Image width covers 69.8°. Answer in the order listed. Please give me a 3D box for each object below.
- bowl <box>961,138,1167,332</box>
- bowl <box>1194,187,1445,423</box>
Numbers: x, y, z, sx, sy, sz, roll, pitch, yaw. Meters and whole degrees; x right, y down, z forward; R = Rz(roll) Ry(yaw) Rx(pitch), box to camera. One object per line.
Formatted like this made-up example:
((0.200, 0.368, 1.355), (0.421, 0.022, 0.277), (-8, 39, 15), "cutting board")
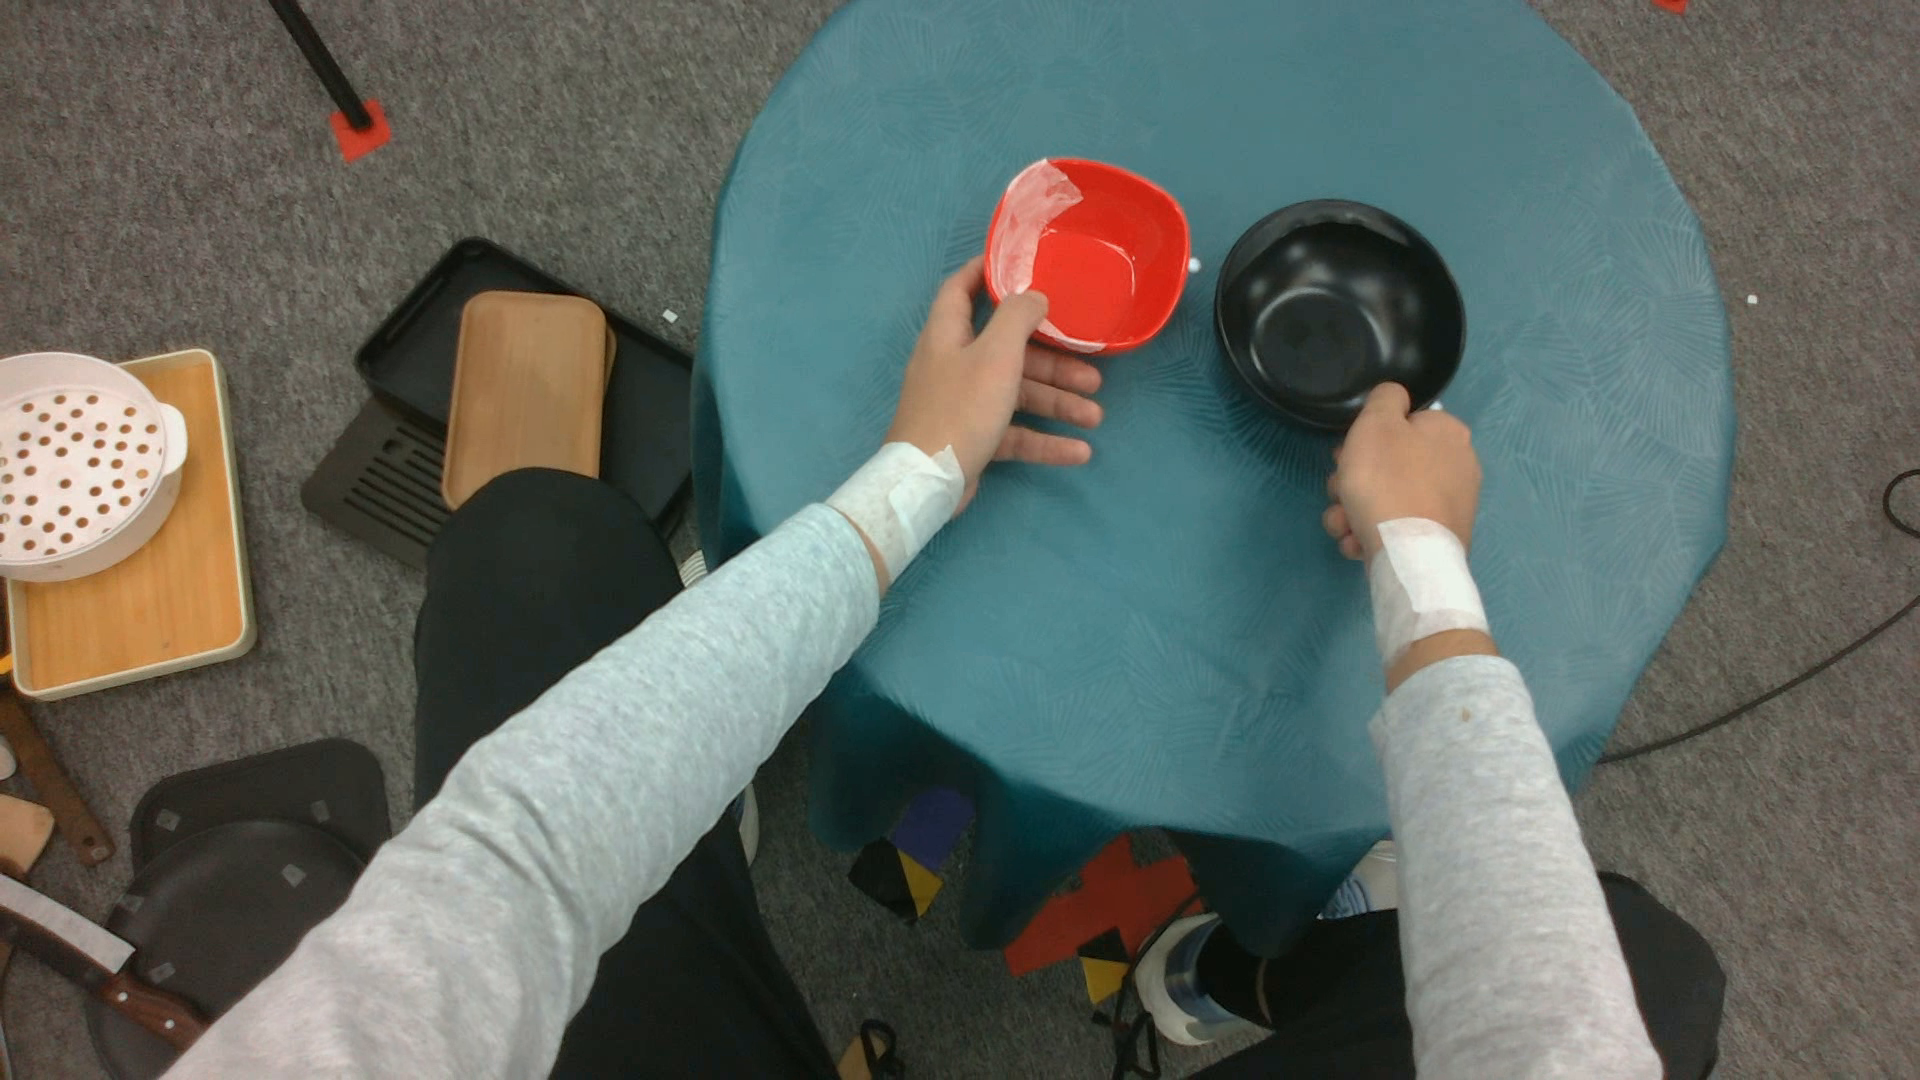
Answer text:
((0.054, -0.160, 0.764), (0.119, 0.051, 0.119), (3, 70, -7), "bowl")
((0.195, -0.125, 0.772), (0.140, 0.049, 0.140), (1, 73, -4), "bowl")
